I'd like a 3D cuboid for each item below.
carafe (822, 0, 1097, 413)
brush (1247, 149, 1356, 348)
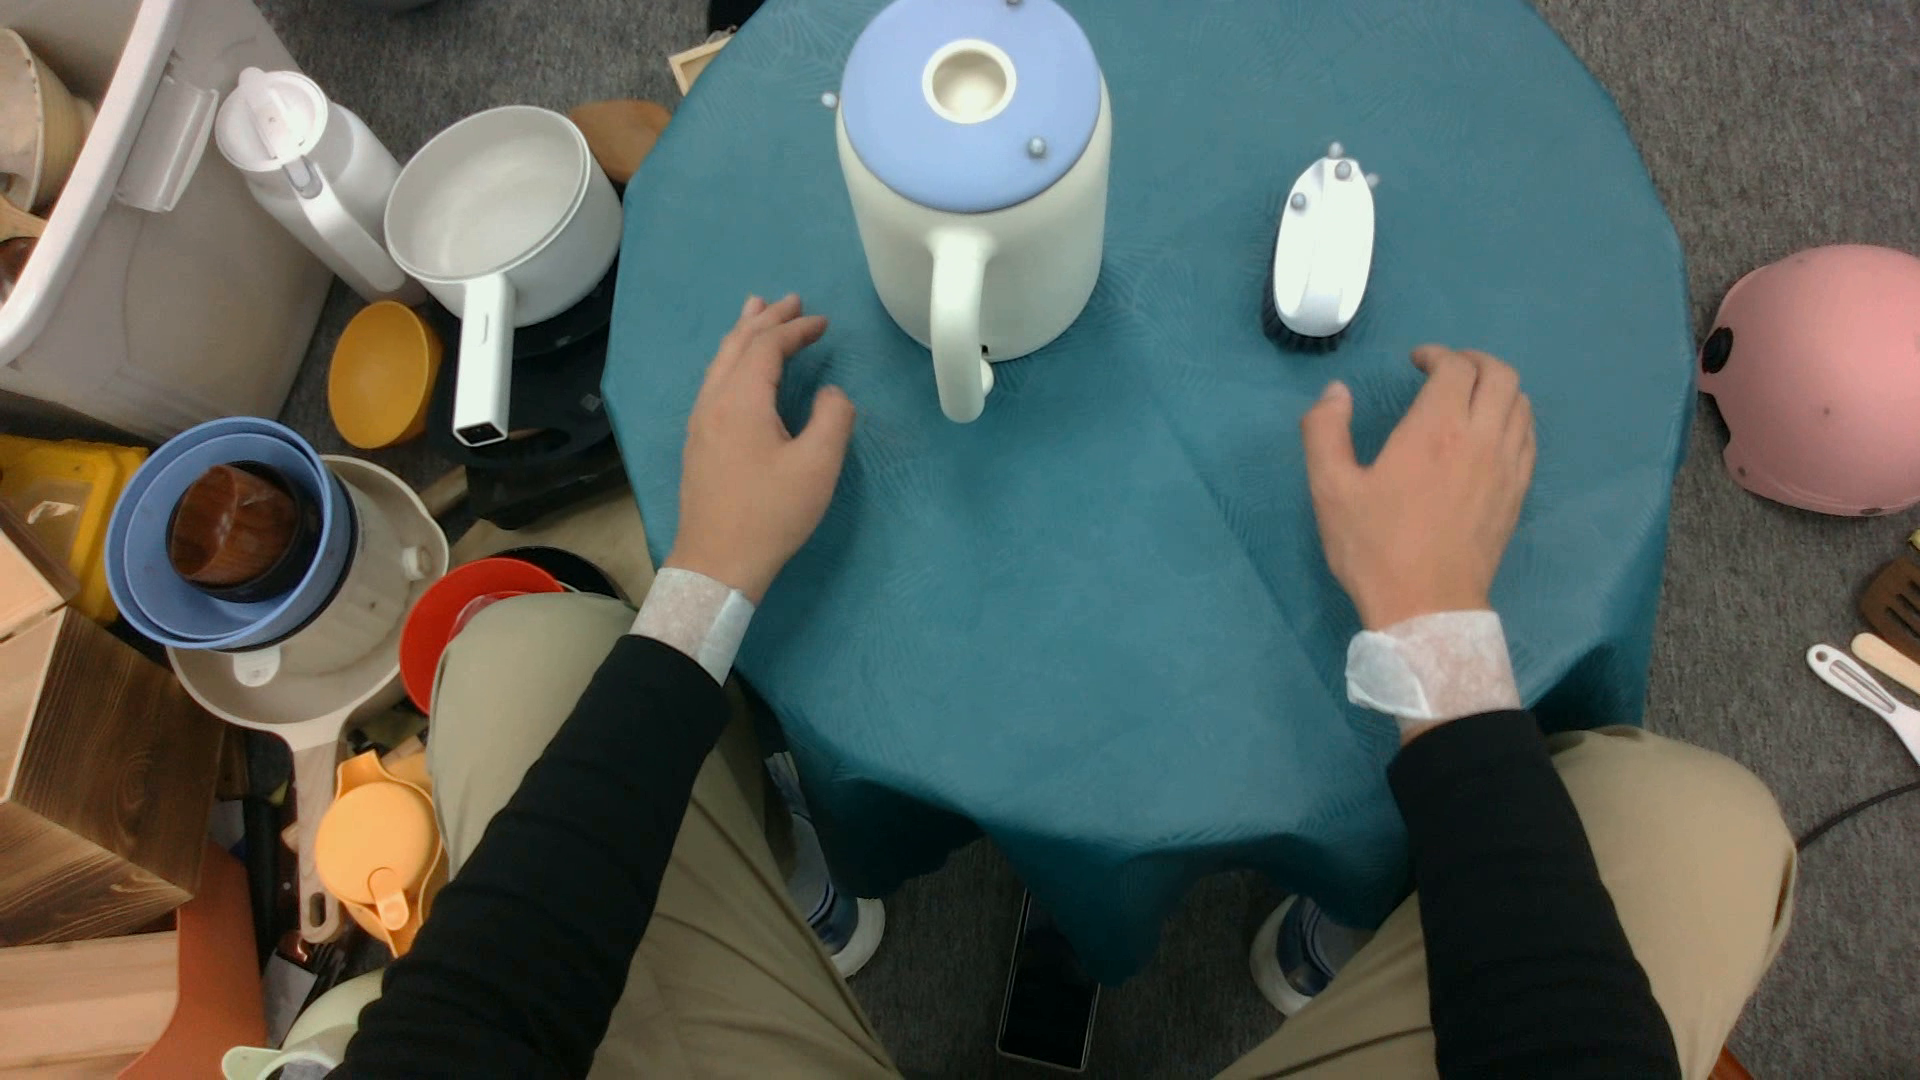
[{"bbox_3d":[0.000,-0.163,0.697,0.132,0.182,0.191,2,76,4],"label":"carafe"},{"bbox_3d":[0.187,-0.162,0.739,0.050,0.072,0.099,11,76,6],"label":"brush"}]
